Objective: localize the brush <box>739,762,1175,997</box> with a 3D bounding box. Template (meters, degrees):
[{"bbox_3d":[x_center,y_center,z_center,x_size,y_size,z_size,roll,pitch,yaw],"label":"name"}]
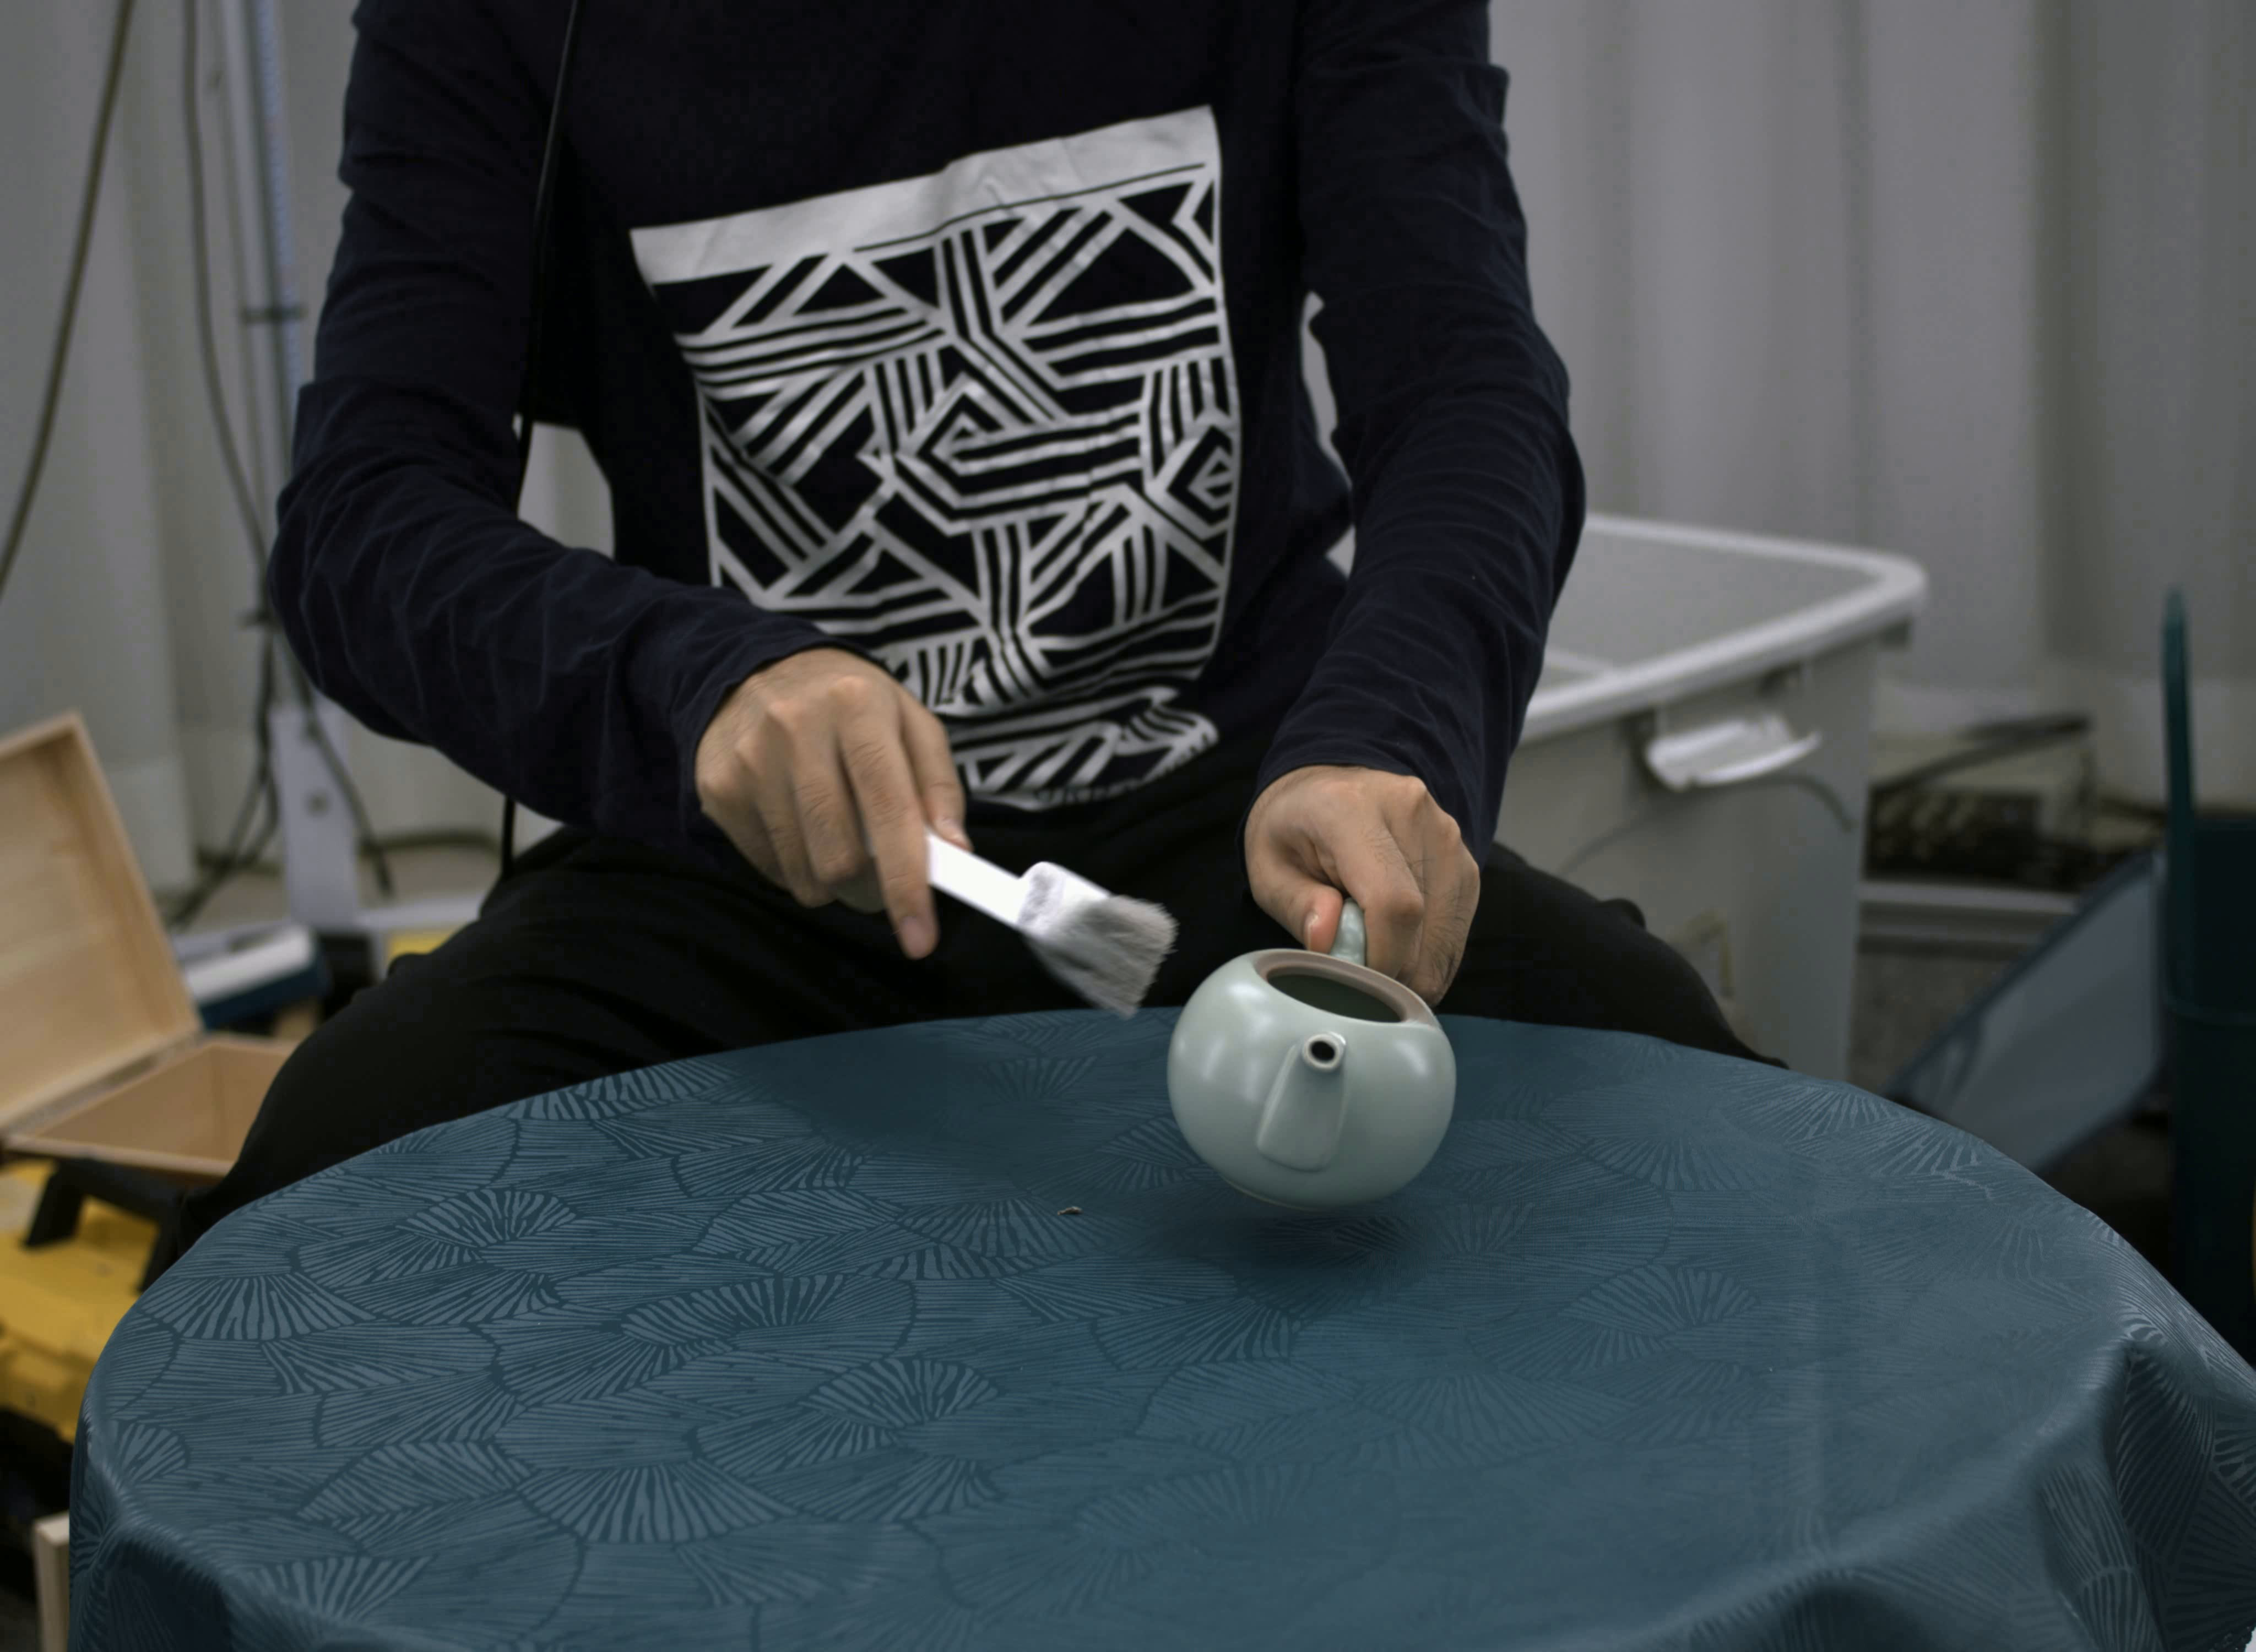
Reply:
[{"bbox_3d":[-0.055,0.015,1.766,0.050,0.034,0.245,23,-2,-31],"label":"brush"}]

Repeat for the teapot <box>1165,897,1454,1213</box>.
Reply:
[{"bbox_3d":[0.055,0.075,1.654,0.088,0.074,0.145,17,19,4],"label":"teapot"}]
